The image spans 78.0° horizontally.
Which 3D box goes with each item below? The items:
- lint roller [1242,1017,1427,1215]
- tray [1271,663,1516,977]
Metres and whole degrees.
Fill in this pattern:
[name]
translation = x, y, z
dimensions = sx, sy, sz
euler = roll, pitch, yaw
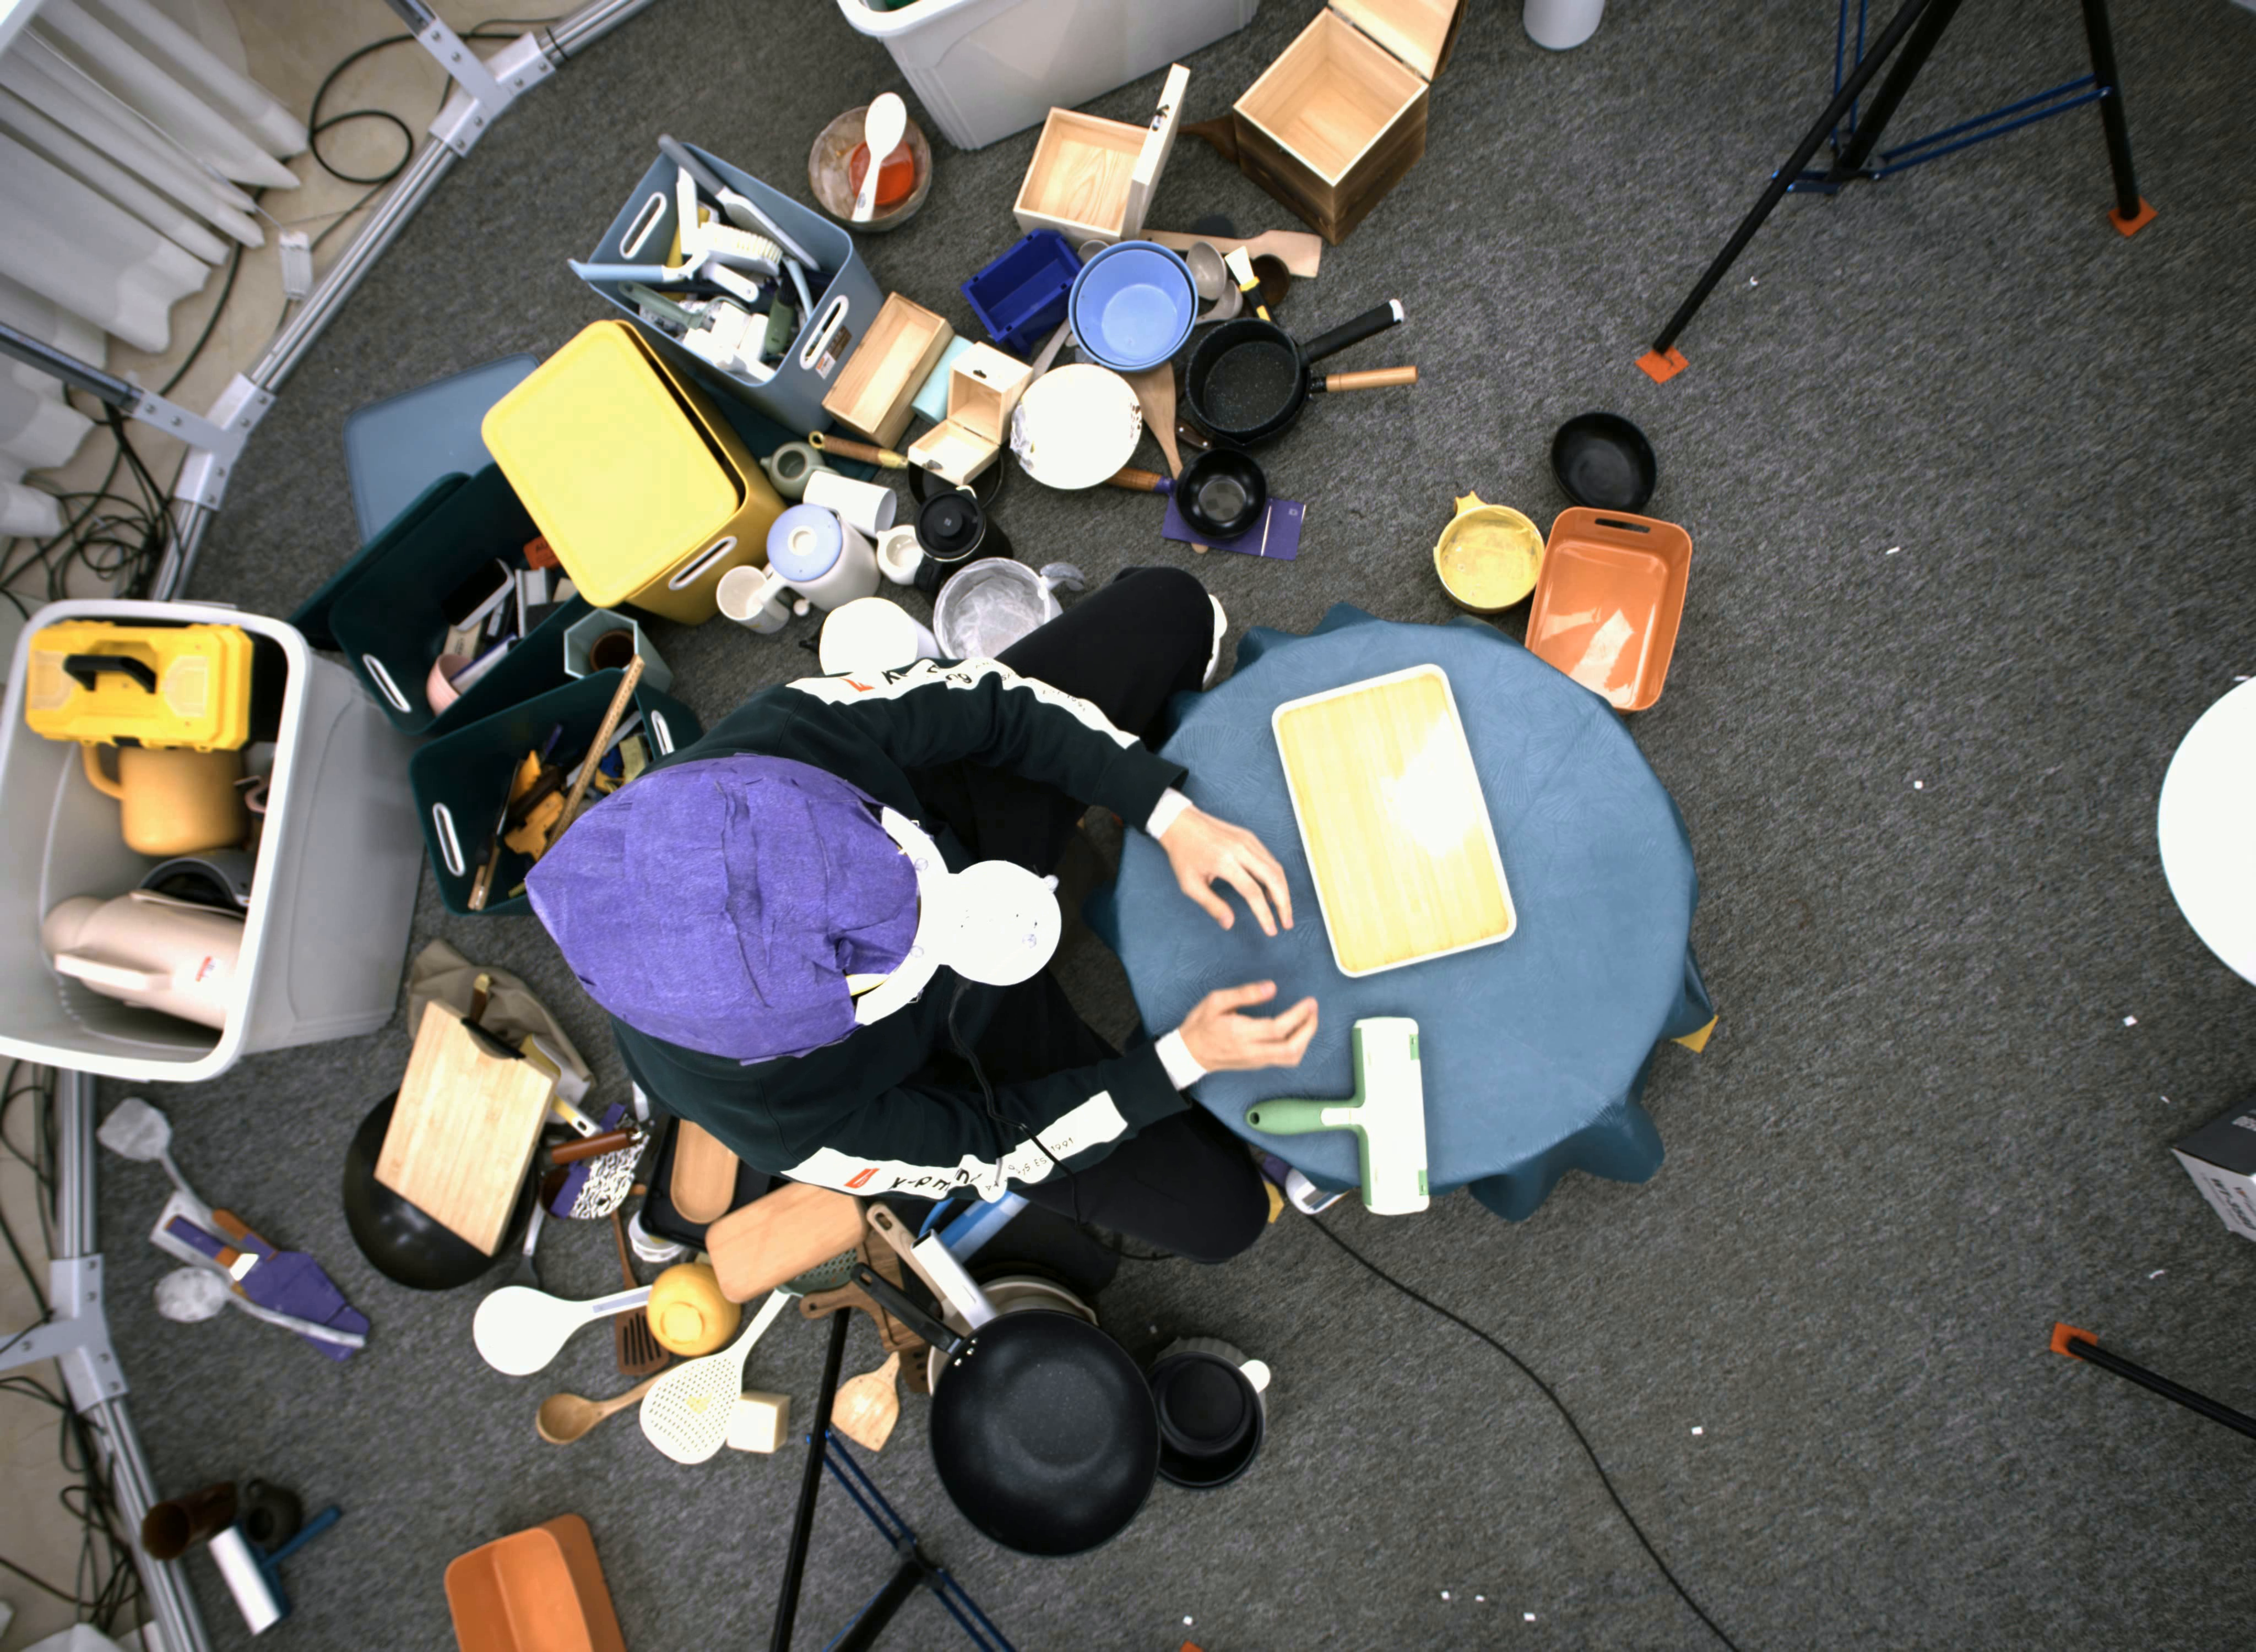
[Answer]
[lint roller]
translation = 0.208, 0.296, 1.416
dimensions = 0.184, 0.082, 0.198
euler = -3, 86, 6
[tray]
translation = 0.276, -0.008, 1.445
dimensions = 0.193, 0.027, 0.298
euler = -15, 85, 10
